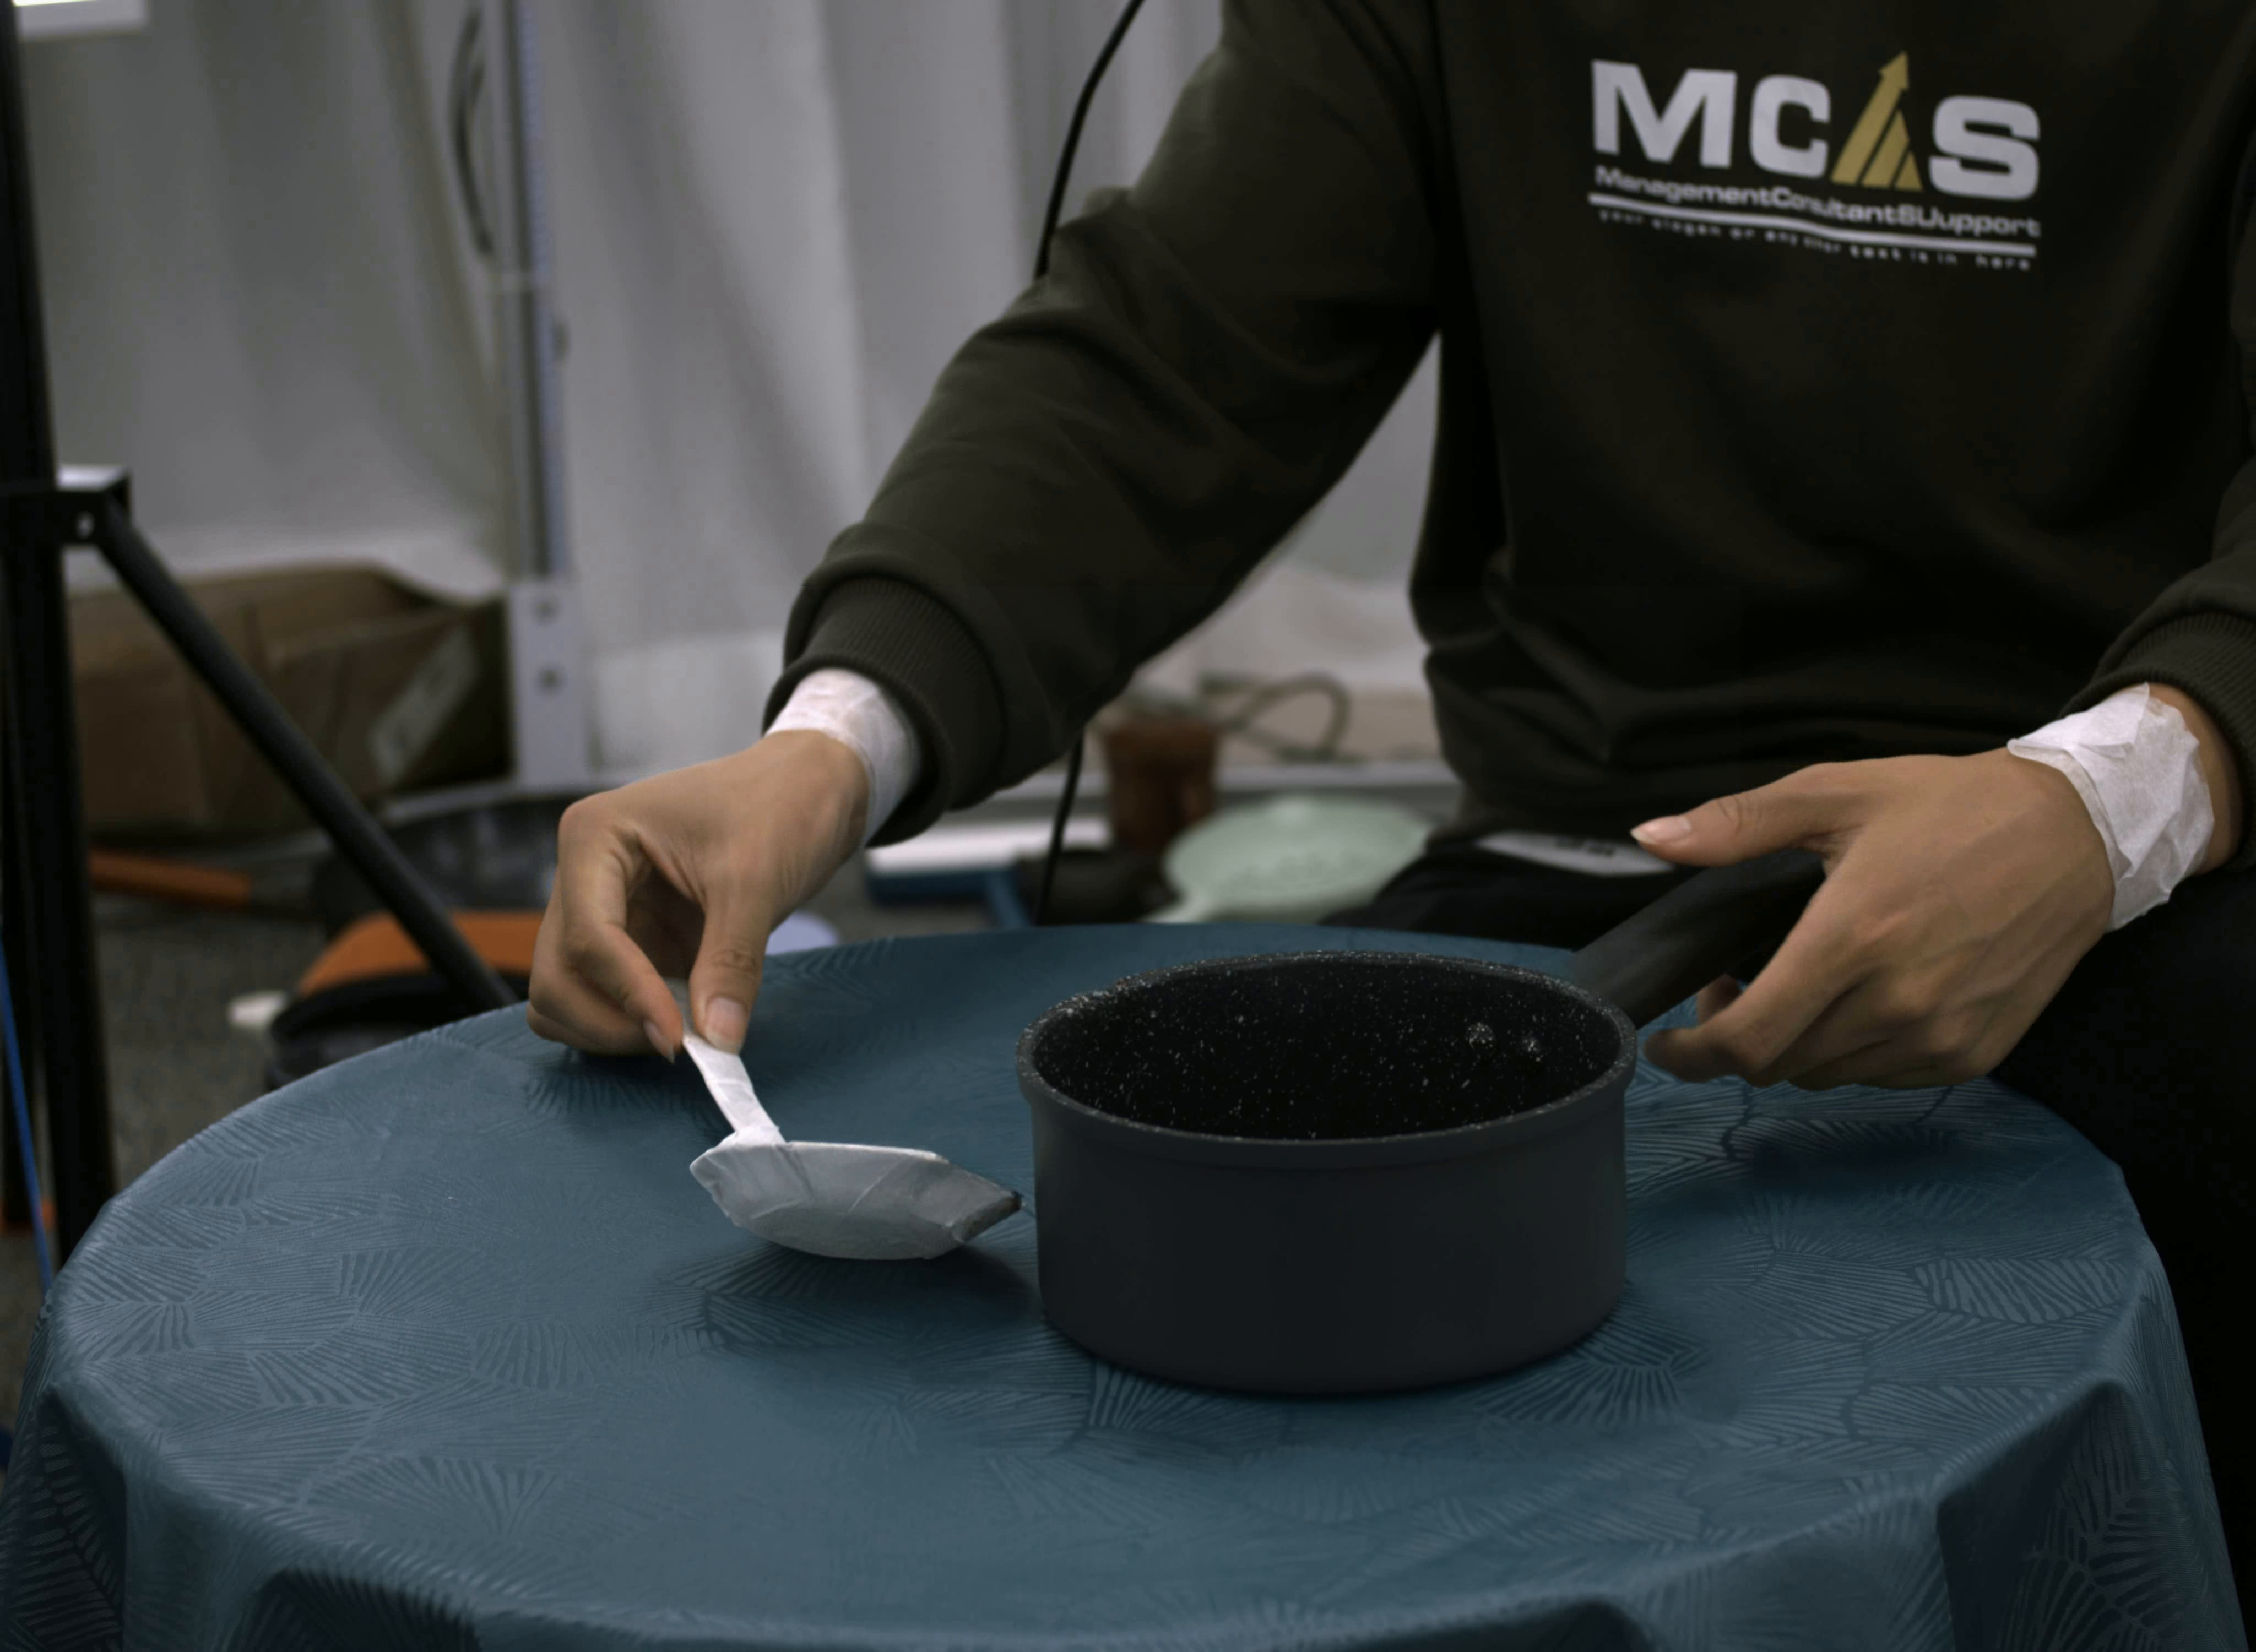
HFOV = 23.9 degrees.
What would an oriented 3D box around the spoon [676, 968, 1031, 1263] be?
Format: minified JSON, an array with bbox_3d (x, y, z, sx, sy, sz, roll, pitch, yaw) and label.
[{"bbox_3d":[-0.096,0.070,1.589,0.099,0.059,0.281,14,15,-17],"label":"spoon"}]

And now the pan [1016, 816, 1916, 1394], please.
[{"bbox_3d":[0.111,0.075,1.509,0.321,0.086,0.176,-17,23,-41],"label":"pan"}]
